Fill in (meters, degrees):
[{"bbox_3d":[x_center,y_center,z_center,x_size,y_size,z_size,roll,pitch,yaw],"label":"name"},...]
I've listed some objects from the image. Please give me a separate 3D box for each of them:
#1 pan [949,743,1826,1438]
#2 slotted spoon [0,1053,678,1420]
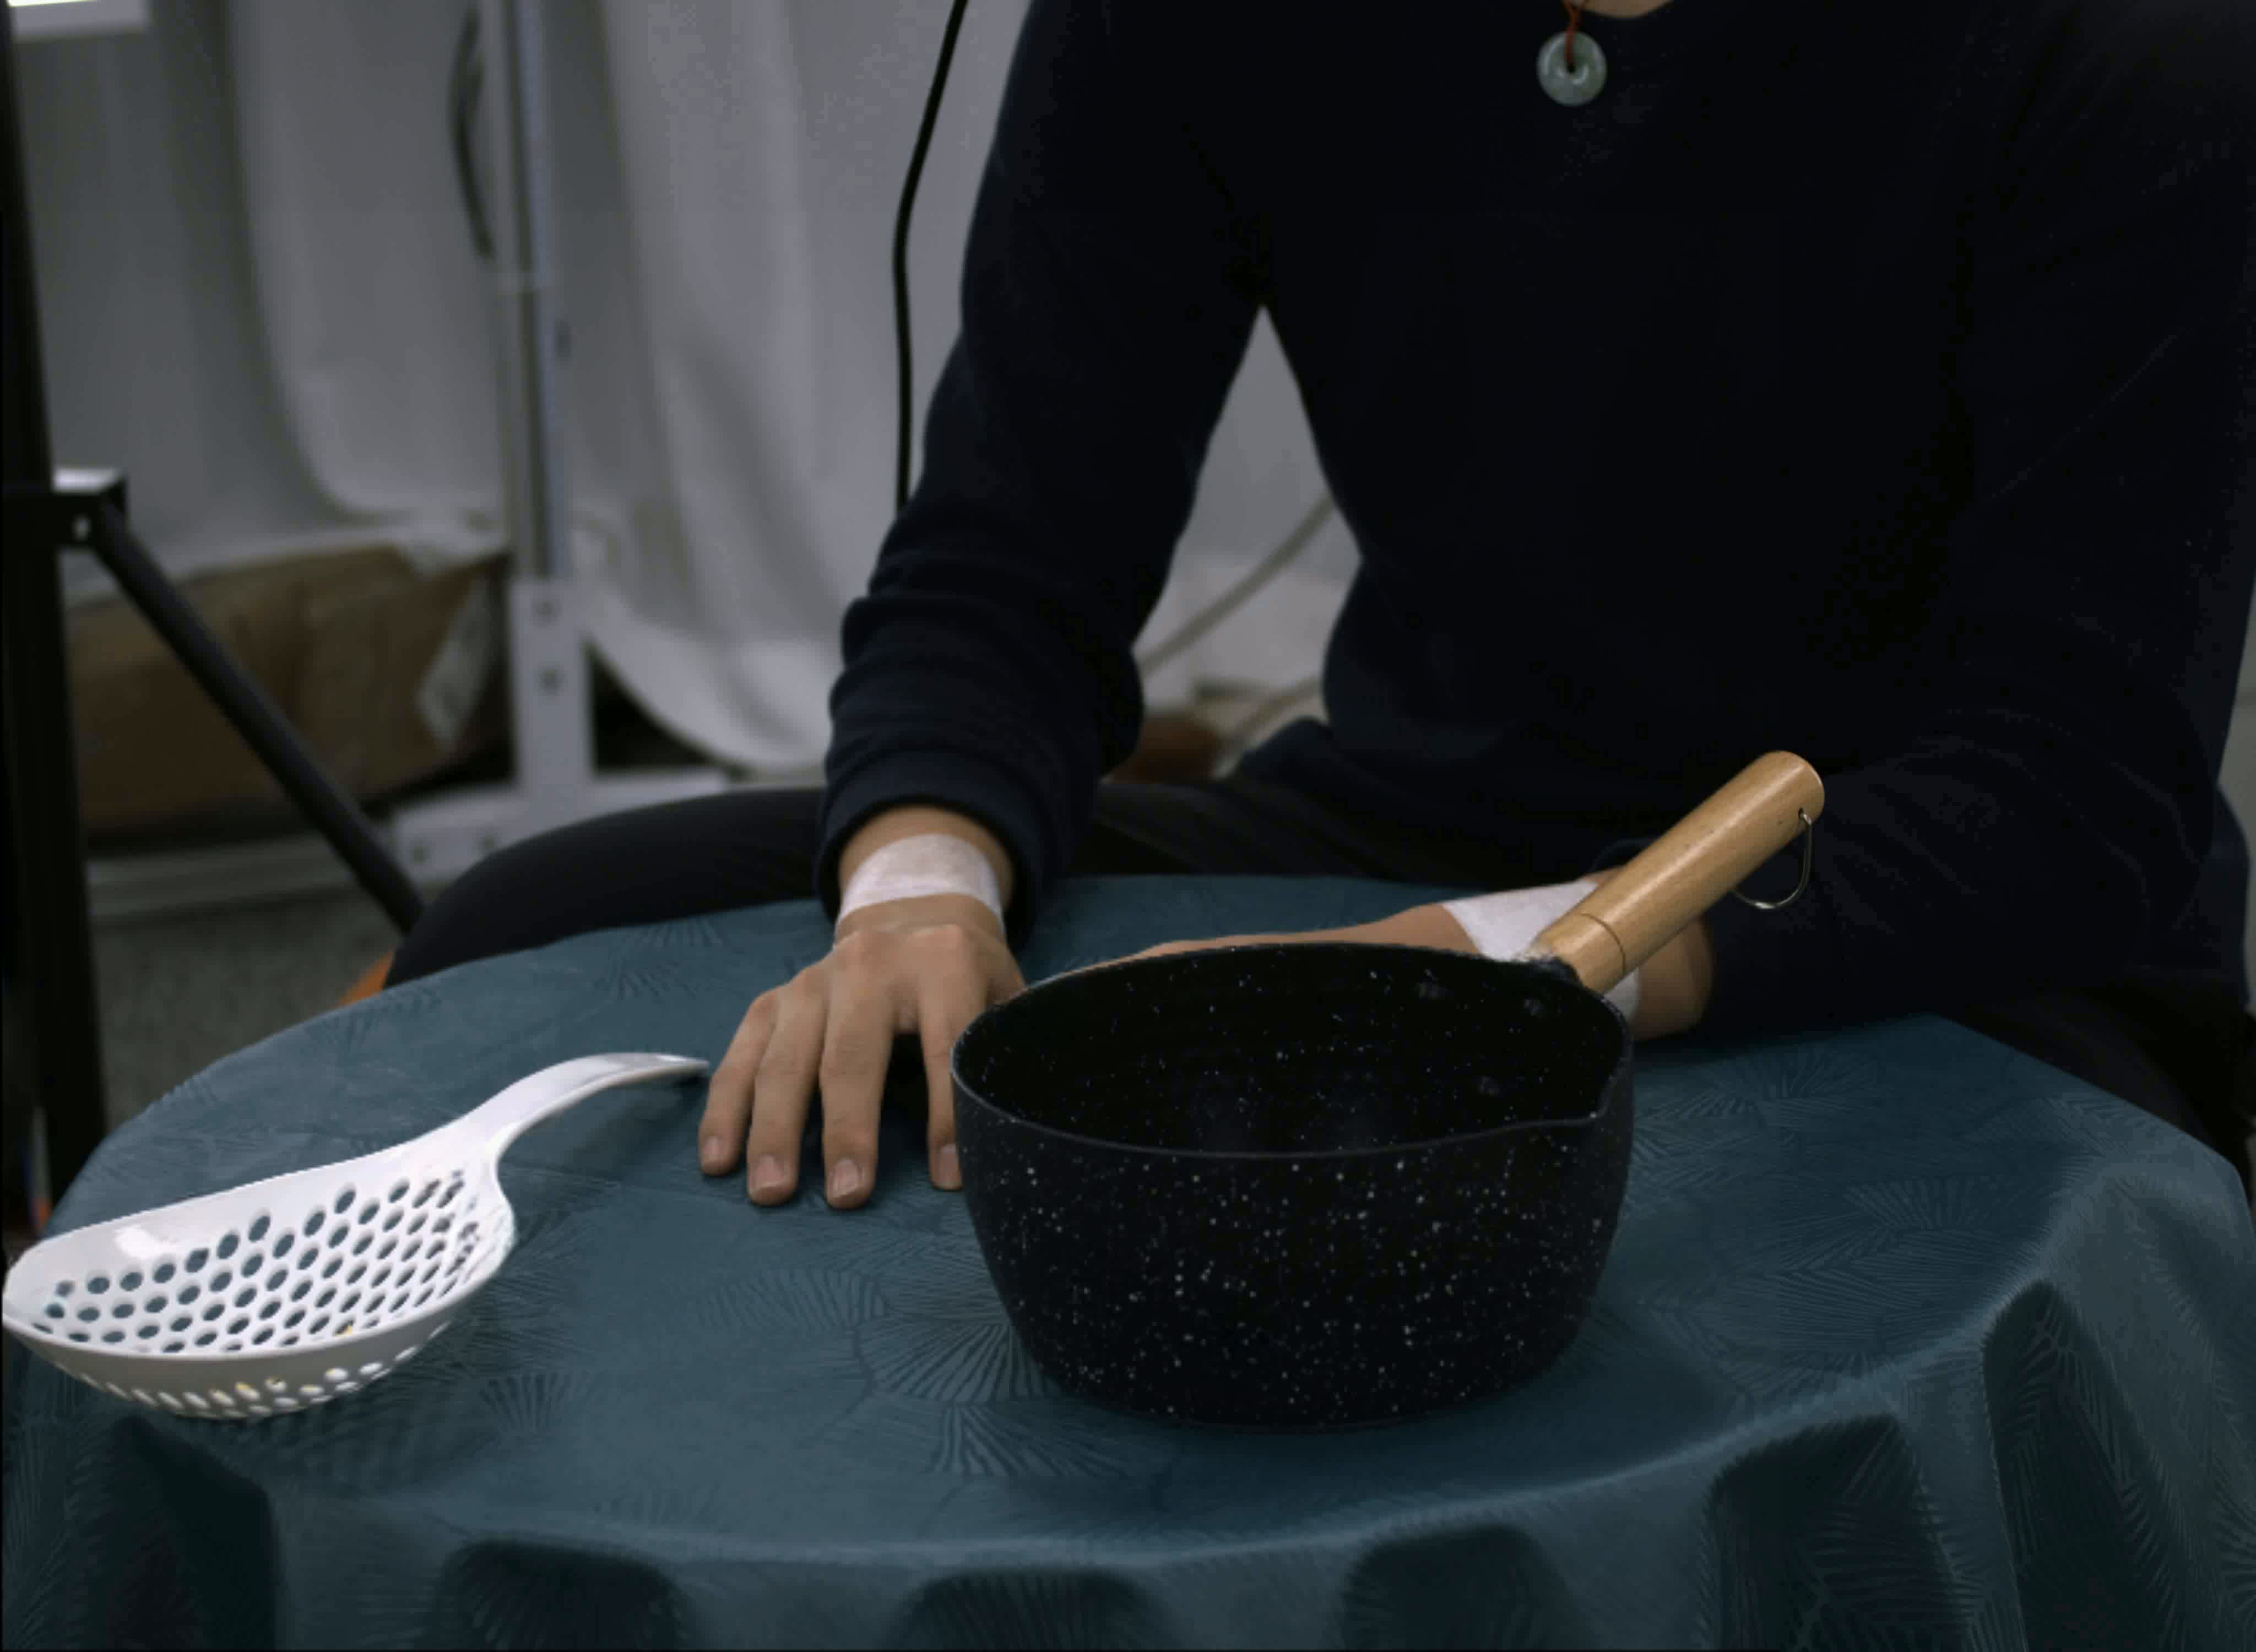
[{"bbox_3d":[0.094,0.069,1.484,0.212,0.108,0.335,9,21,39],"label":"pan"},{"bbox_3d":[-0.198,0.104,1.526,0.138,0.050,0.344,2,18,20],"label":"slotted spoon"}]
